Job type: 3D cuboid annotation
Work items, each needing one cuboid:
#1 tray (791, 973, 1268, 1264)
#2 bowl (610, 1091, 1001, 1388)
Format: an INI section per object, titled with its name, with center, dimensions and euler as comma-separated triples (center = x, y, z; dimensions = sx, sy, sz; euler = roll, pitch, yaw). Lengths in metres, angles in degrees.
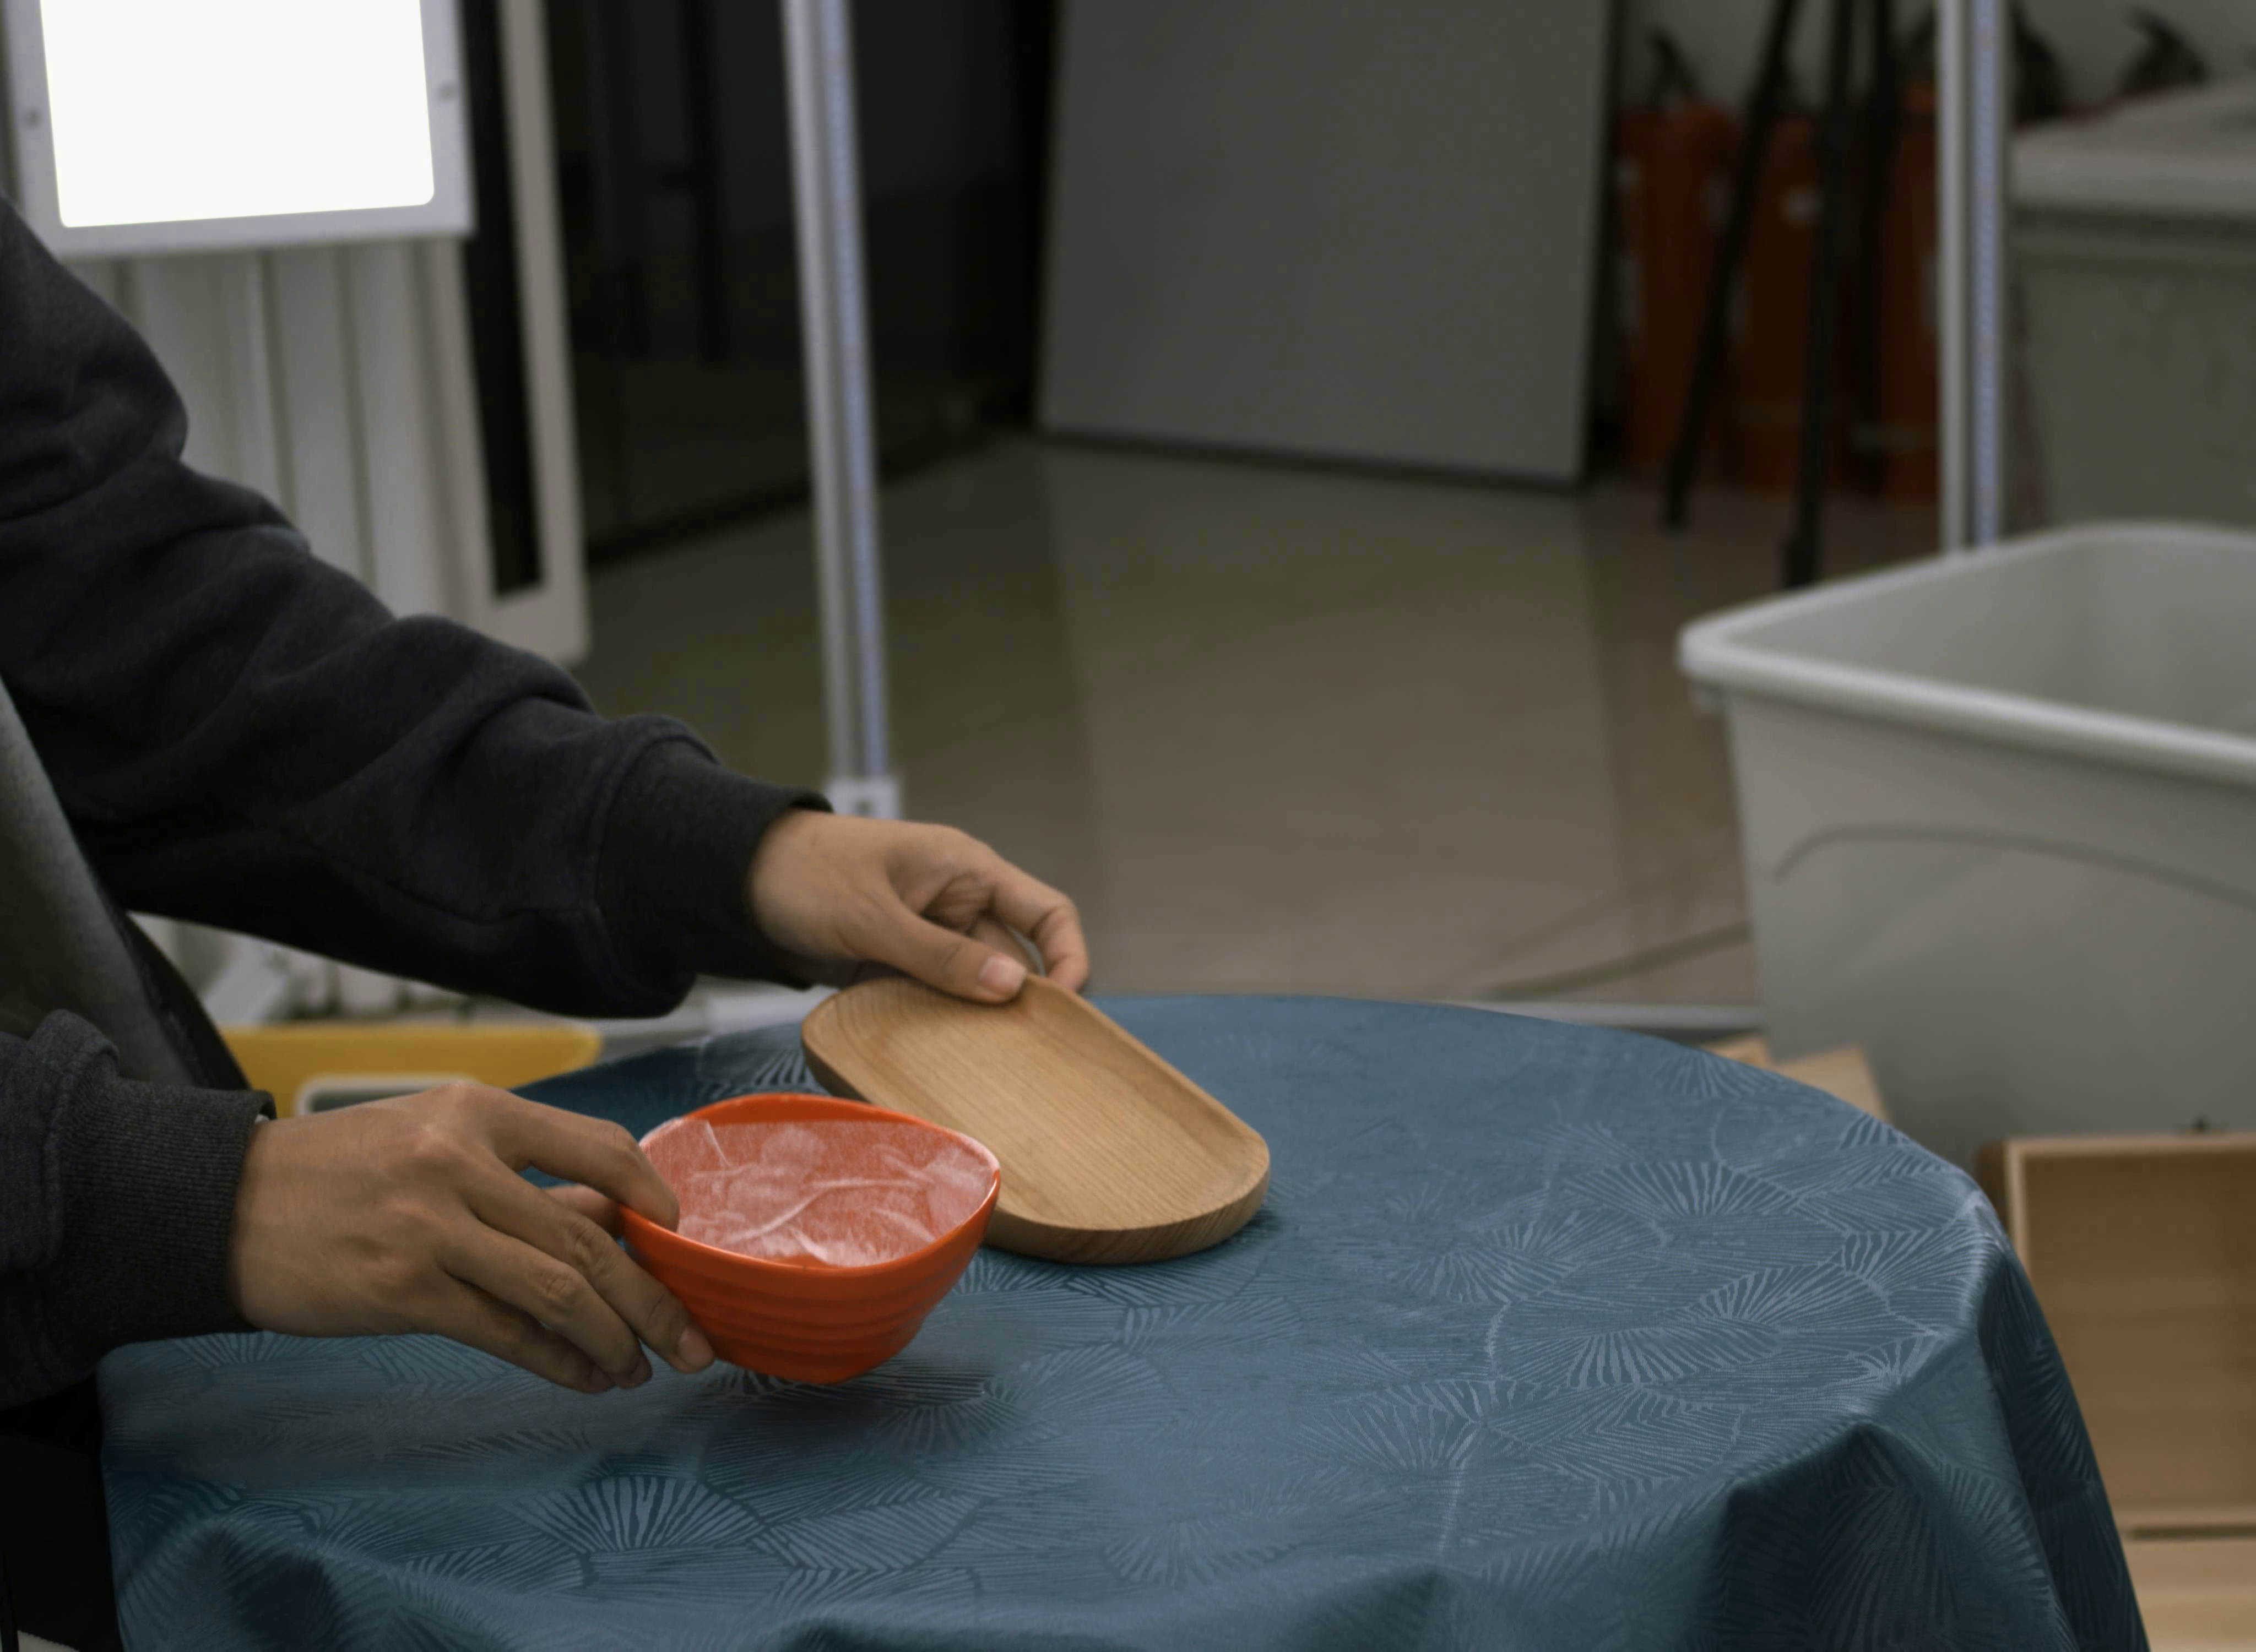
[tray]
center = -0.035, 0.095, 1.796
dimensions = 0.099, 0.020, 0.234
euler = -12, 21, -25
[bowl]
center = -0.096, 0.126, 1.604
dimensions = 0.117, 0.052, 0.119
euler = 2, 23, -2
